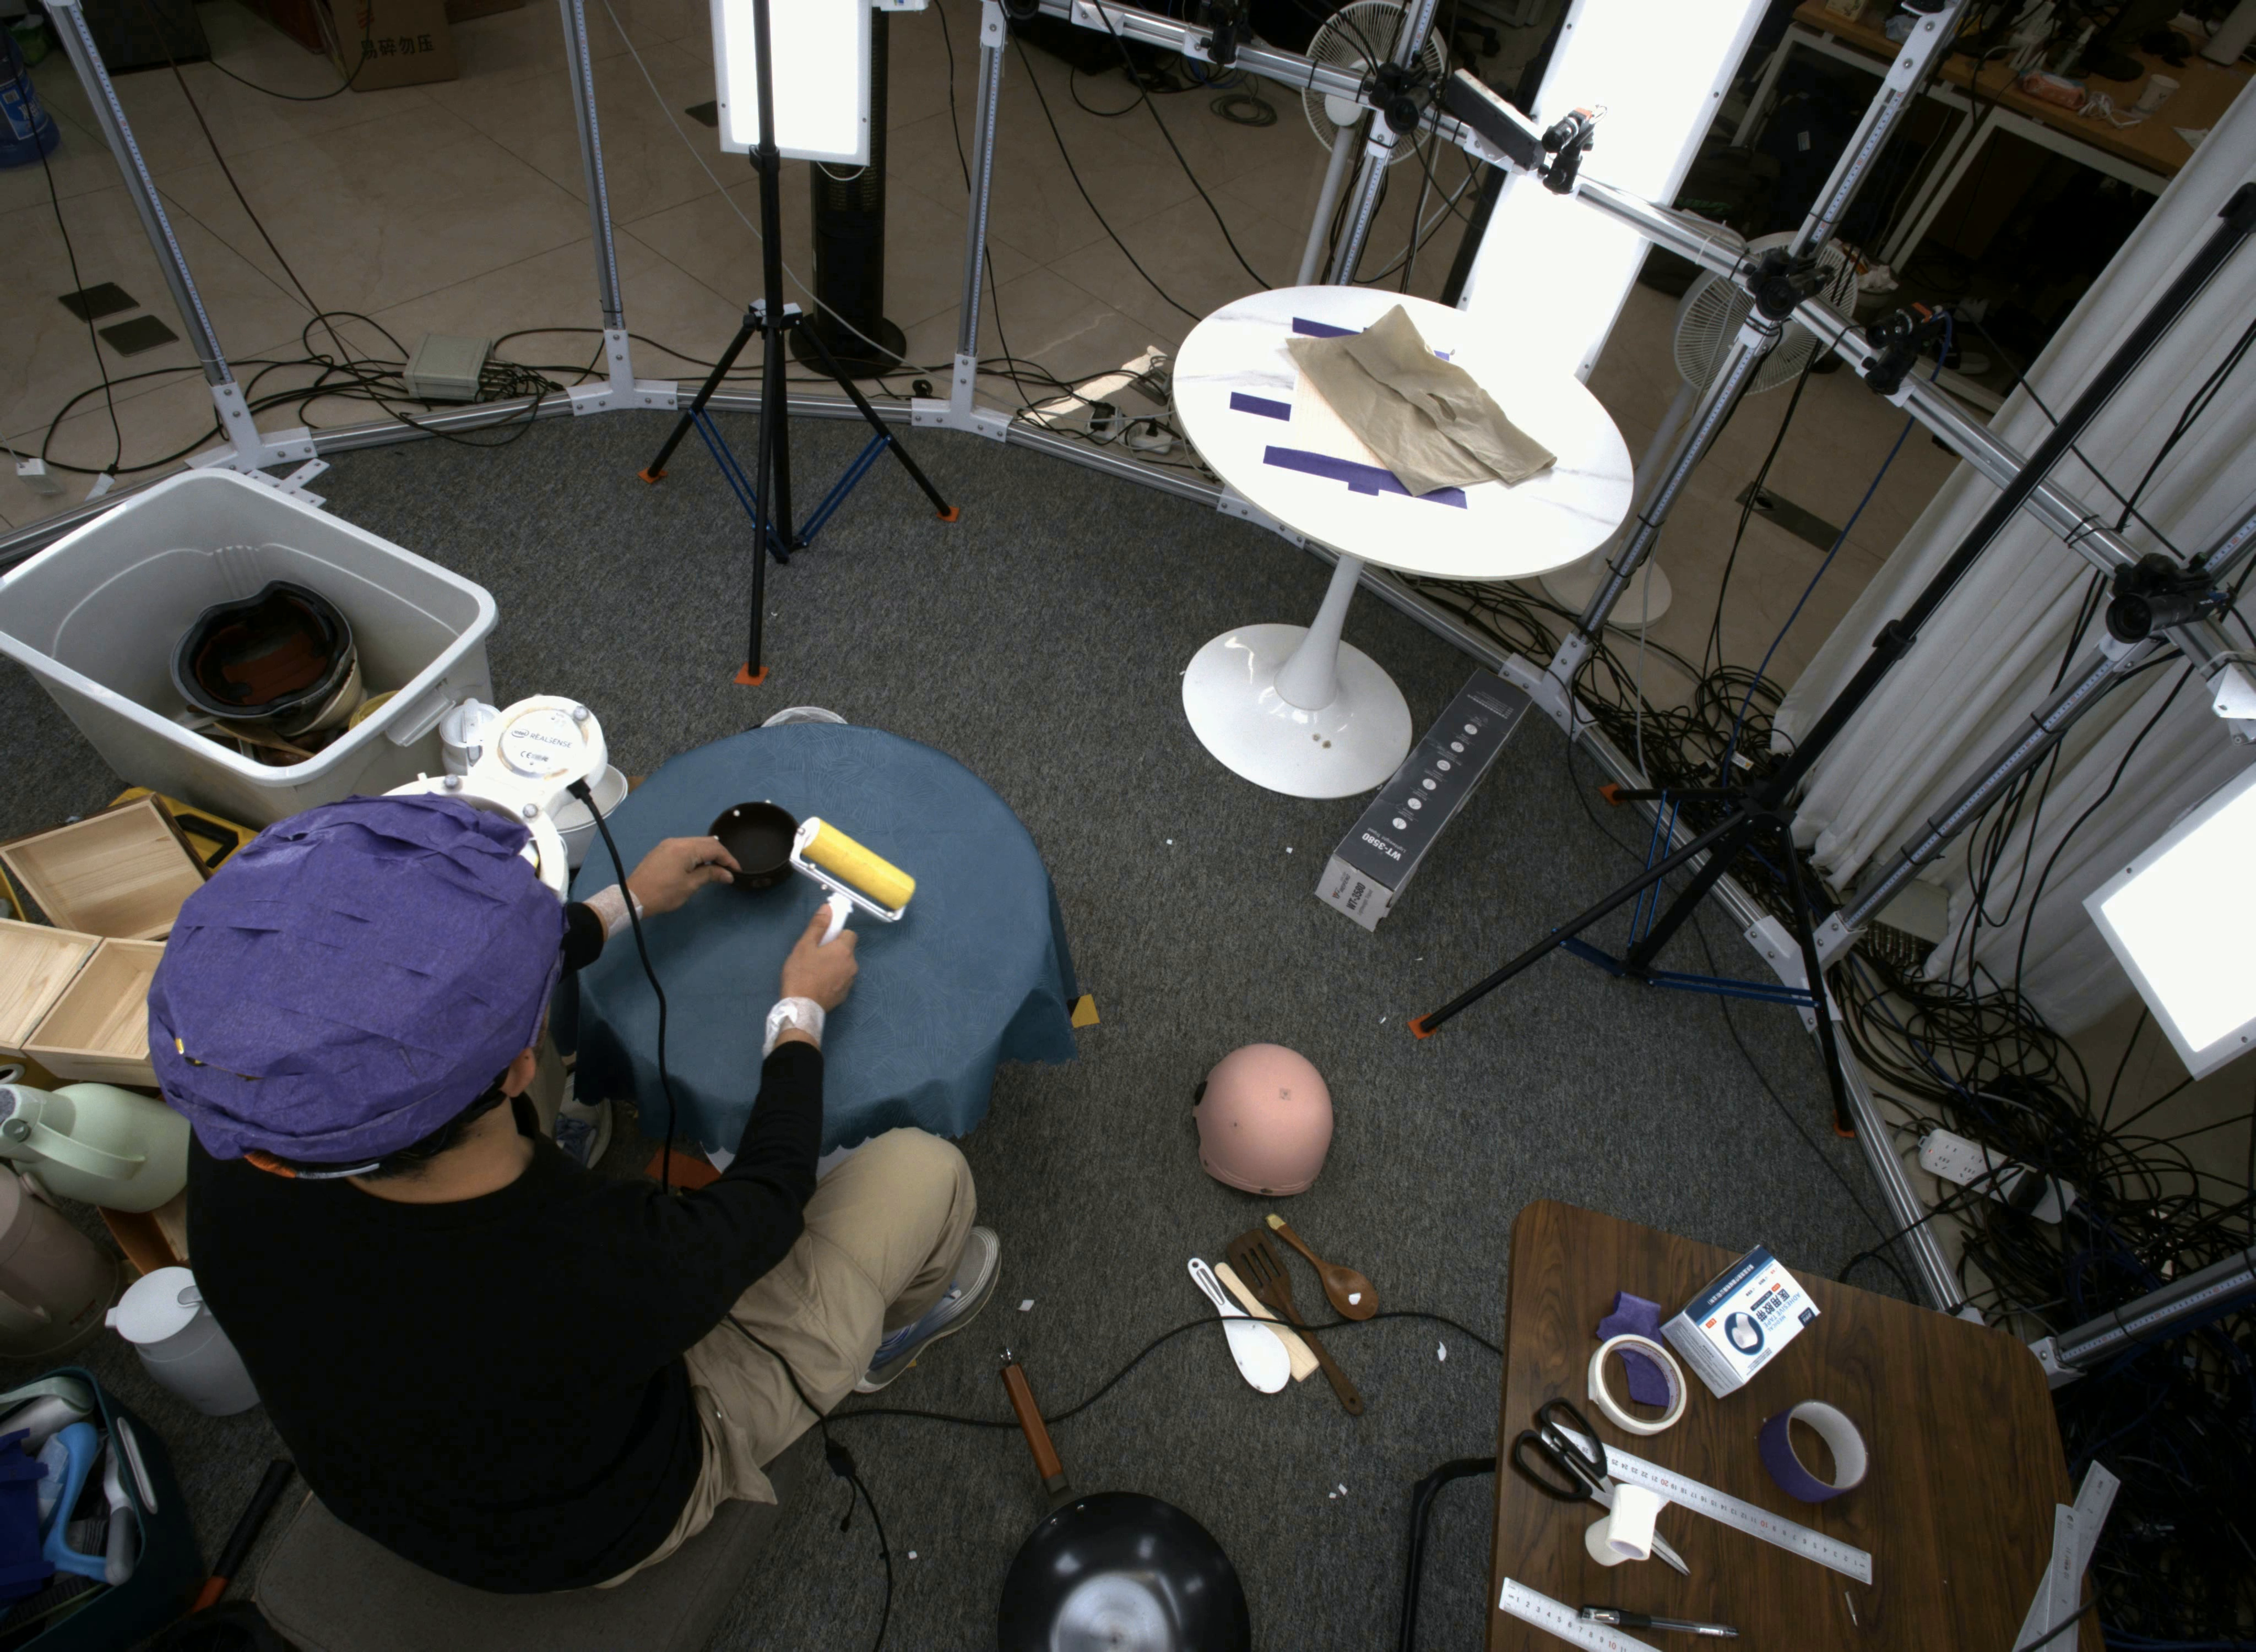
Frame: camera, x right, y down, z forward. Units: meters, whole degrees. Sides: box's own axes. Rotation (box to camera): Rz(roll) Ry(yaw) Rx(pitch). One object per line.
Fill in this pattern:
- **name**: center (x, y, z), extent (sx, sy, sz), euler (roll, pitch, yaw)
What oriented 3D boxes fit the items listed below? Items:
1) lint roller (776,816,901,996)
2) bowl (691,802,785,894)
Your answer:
- **lint roller**: center (-0.359, 0.108, 1.561), extent (0.180, 0.050, 0.189), euler (37, 47, -44)
- **bowl**: center (-0.486, 0.034, 1.627), extent (0.117, 0.071, 0.116), euler (6, 52, -6)
